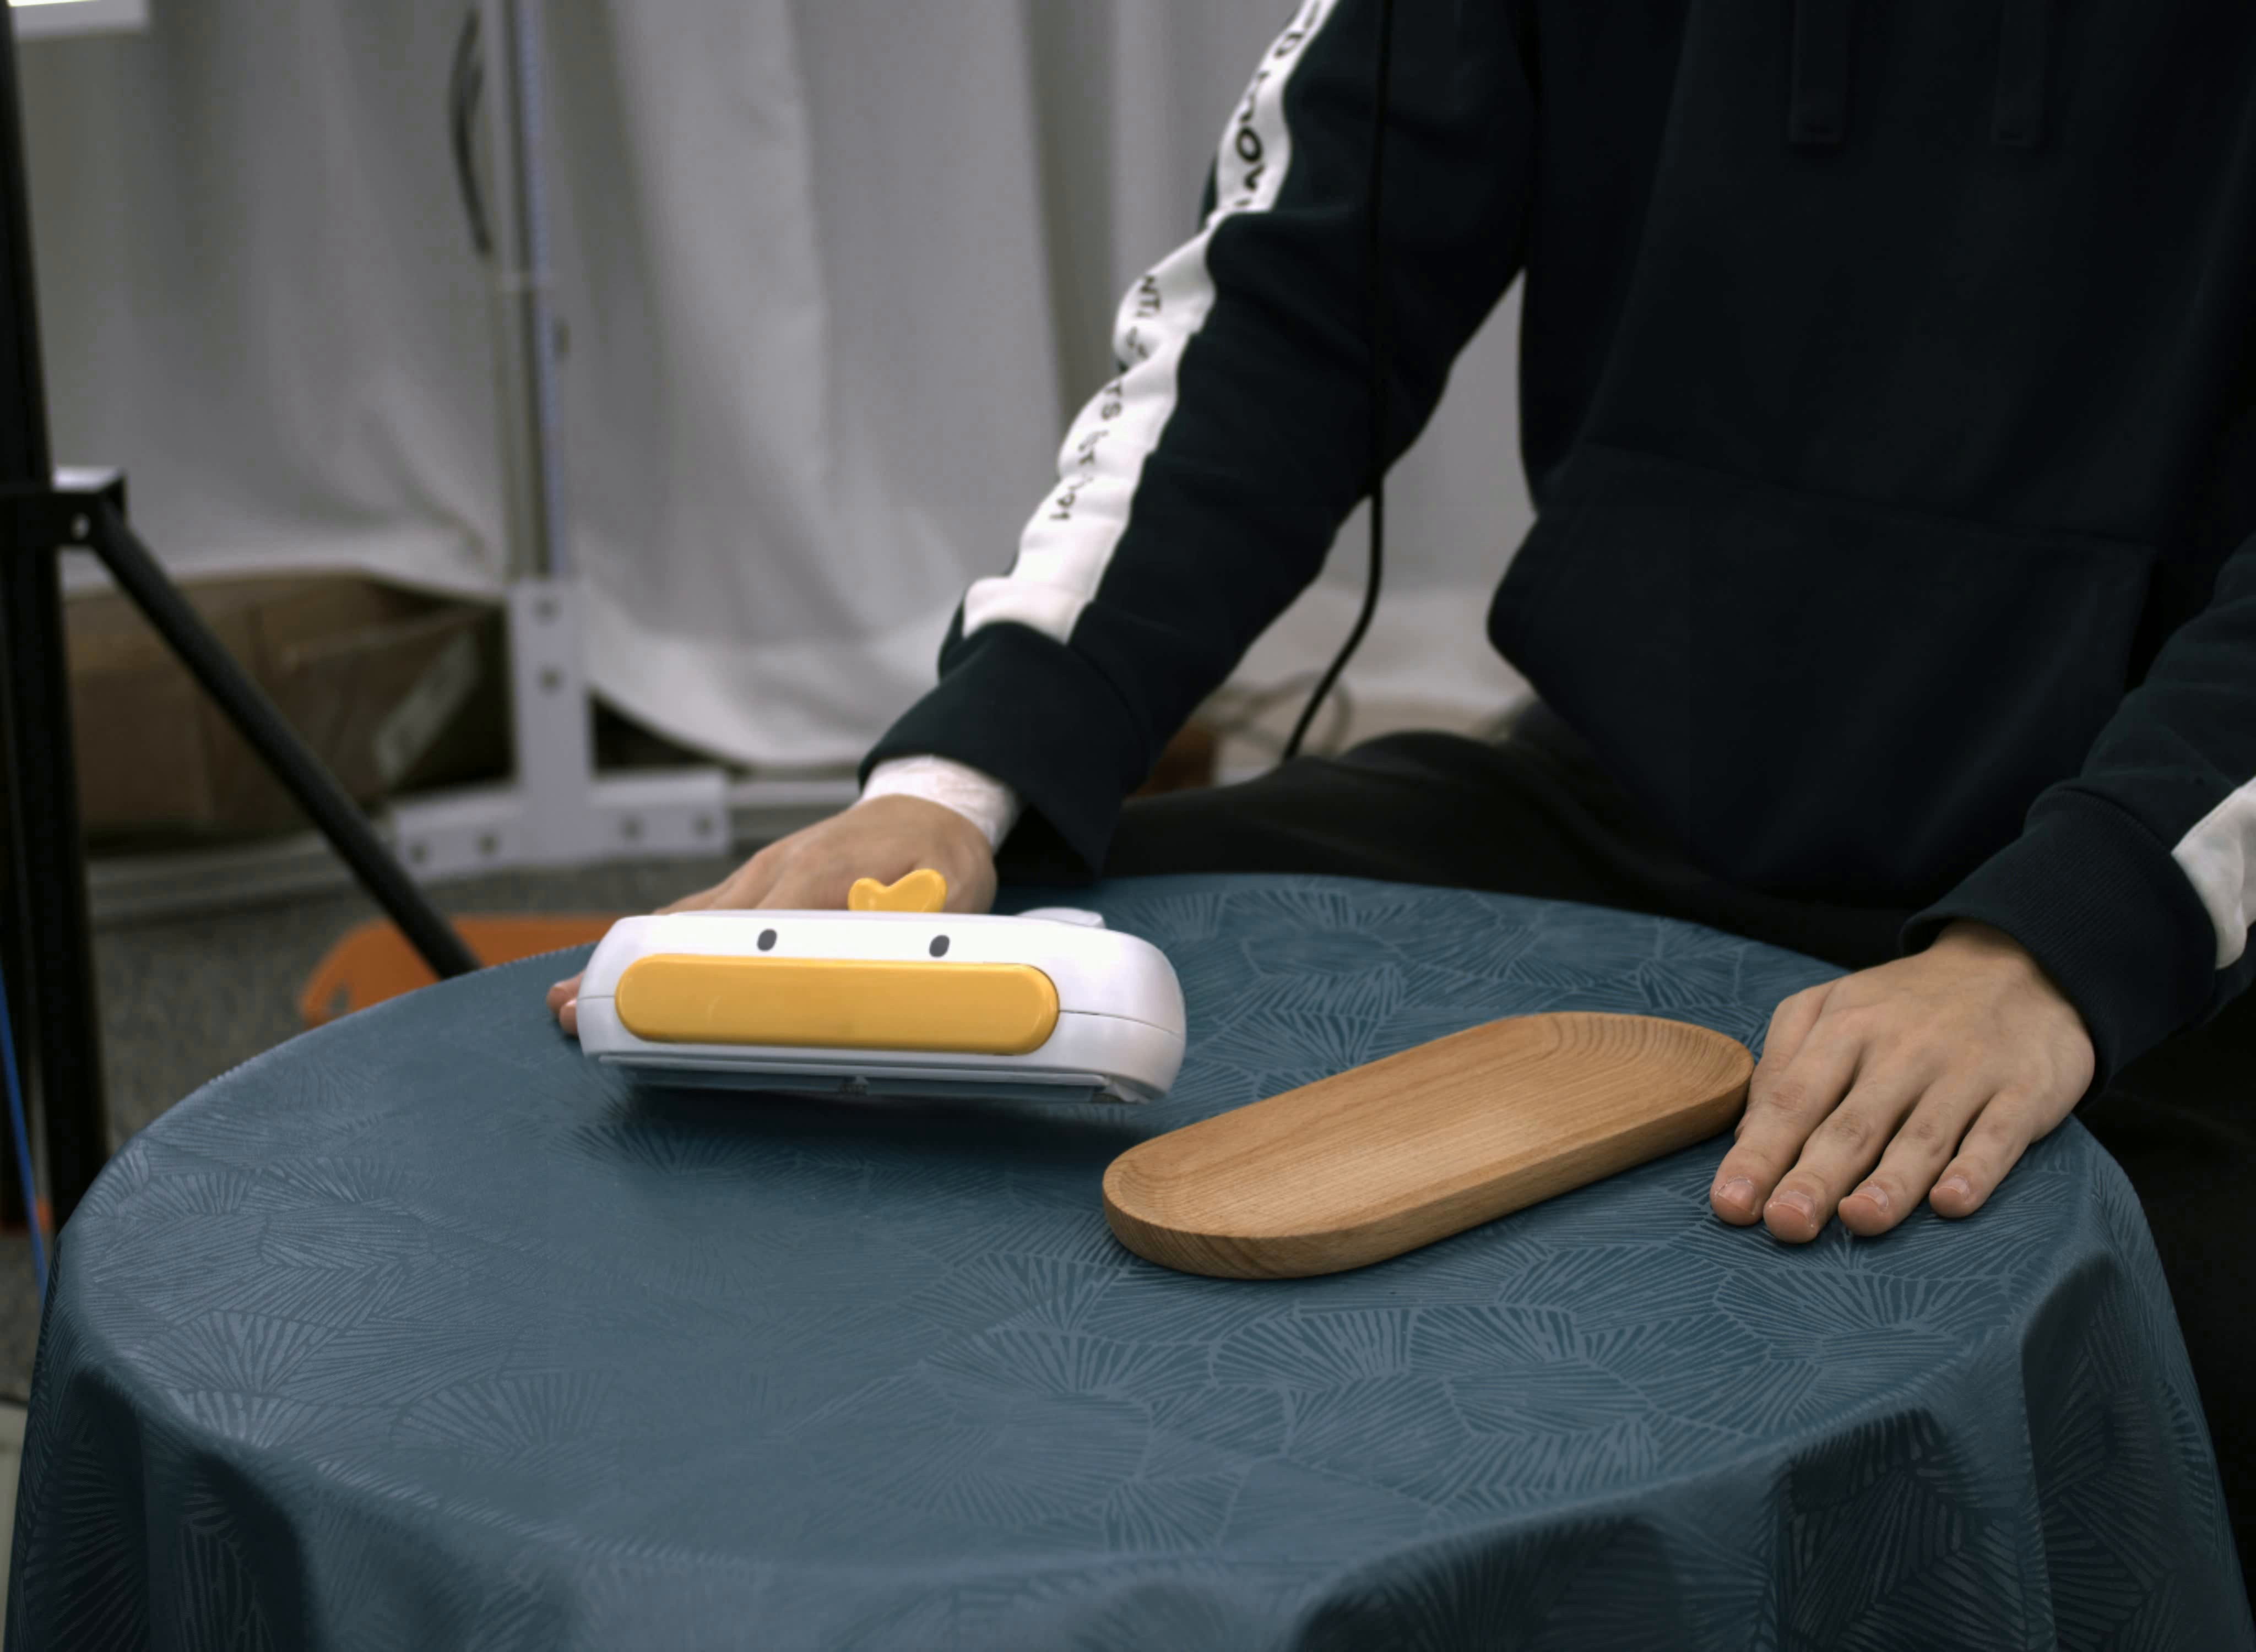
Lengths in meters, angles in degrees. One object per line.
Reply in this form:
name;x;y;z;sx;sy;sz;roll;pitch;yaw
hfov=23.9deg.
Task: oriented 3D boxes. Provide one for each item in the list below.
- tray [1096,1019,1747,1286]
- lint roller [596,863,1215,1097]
tray;0.089;0.095;1.559;0.226;0.020;0.104;-18;21;-39
lint roller;-0.051;0.052;1.675;0.195;0.074;0.189;-3;-5;19
